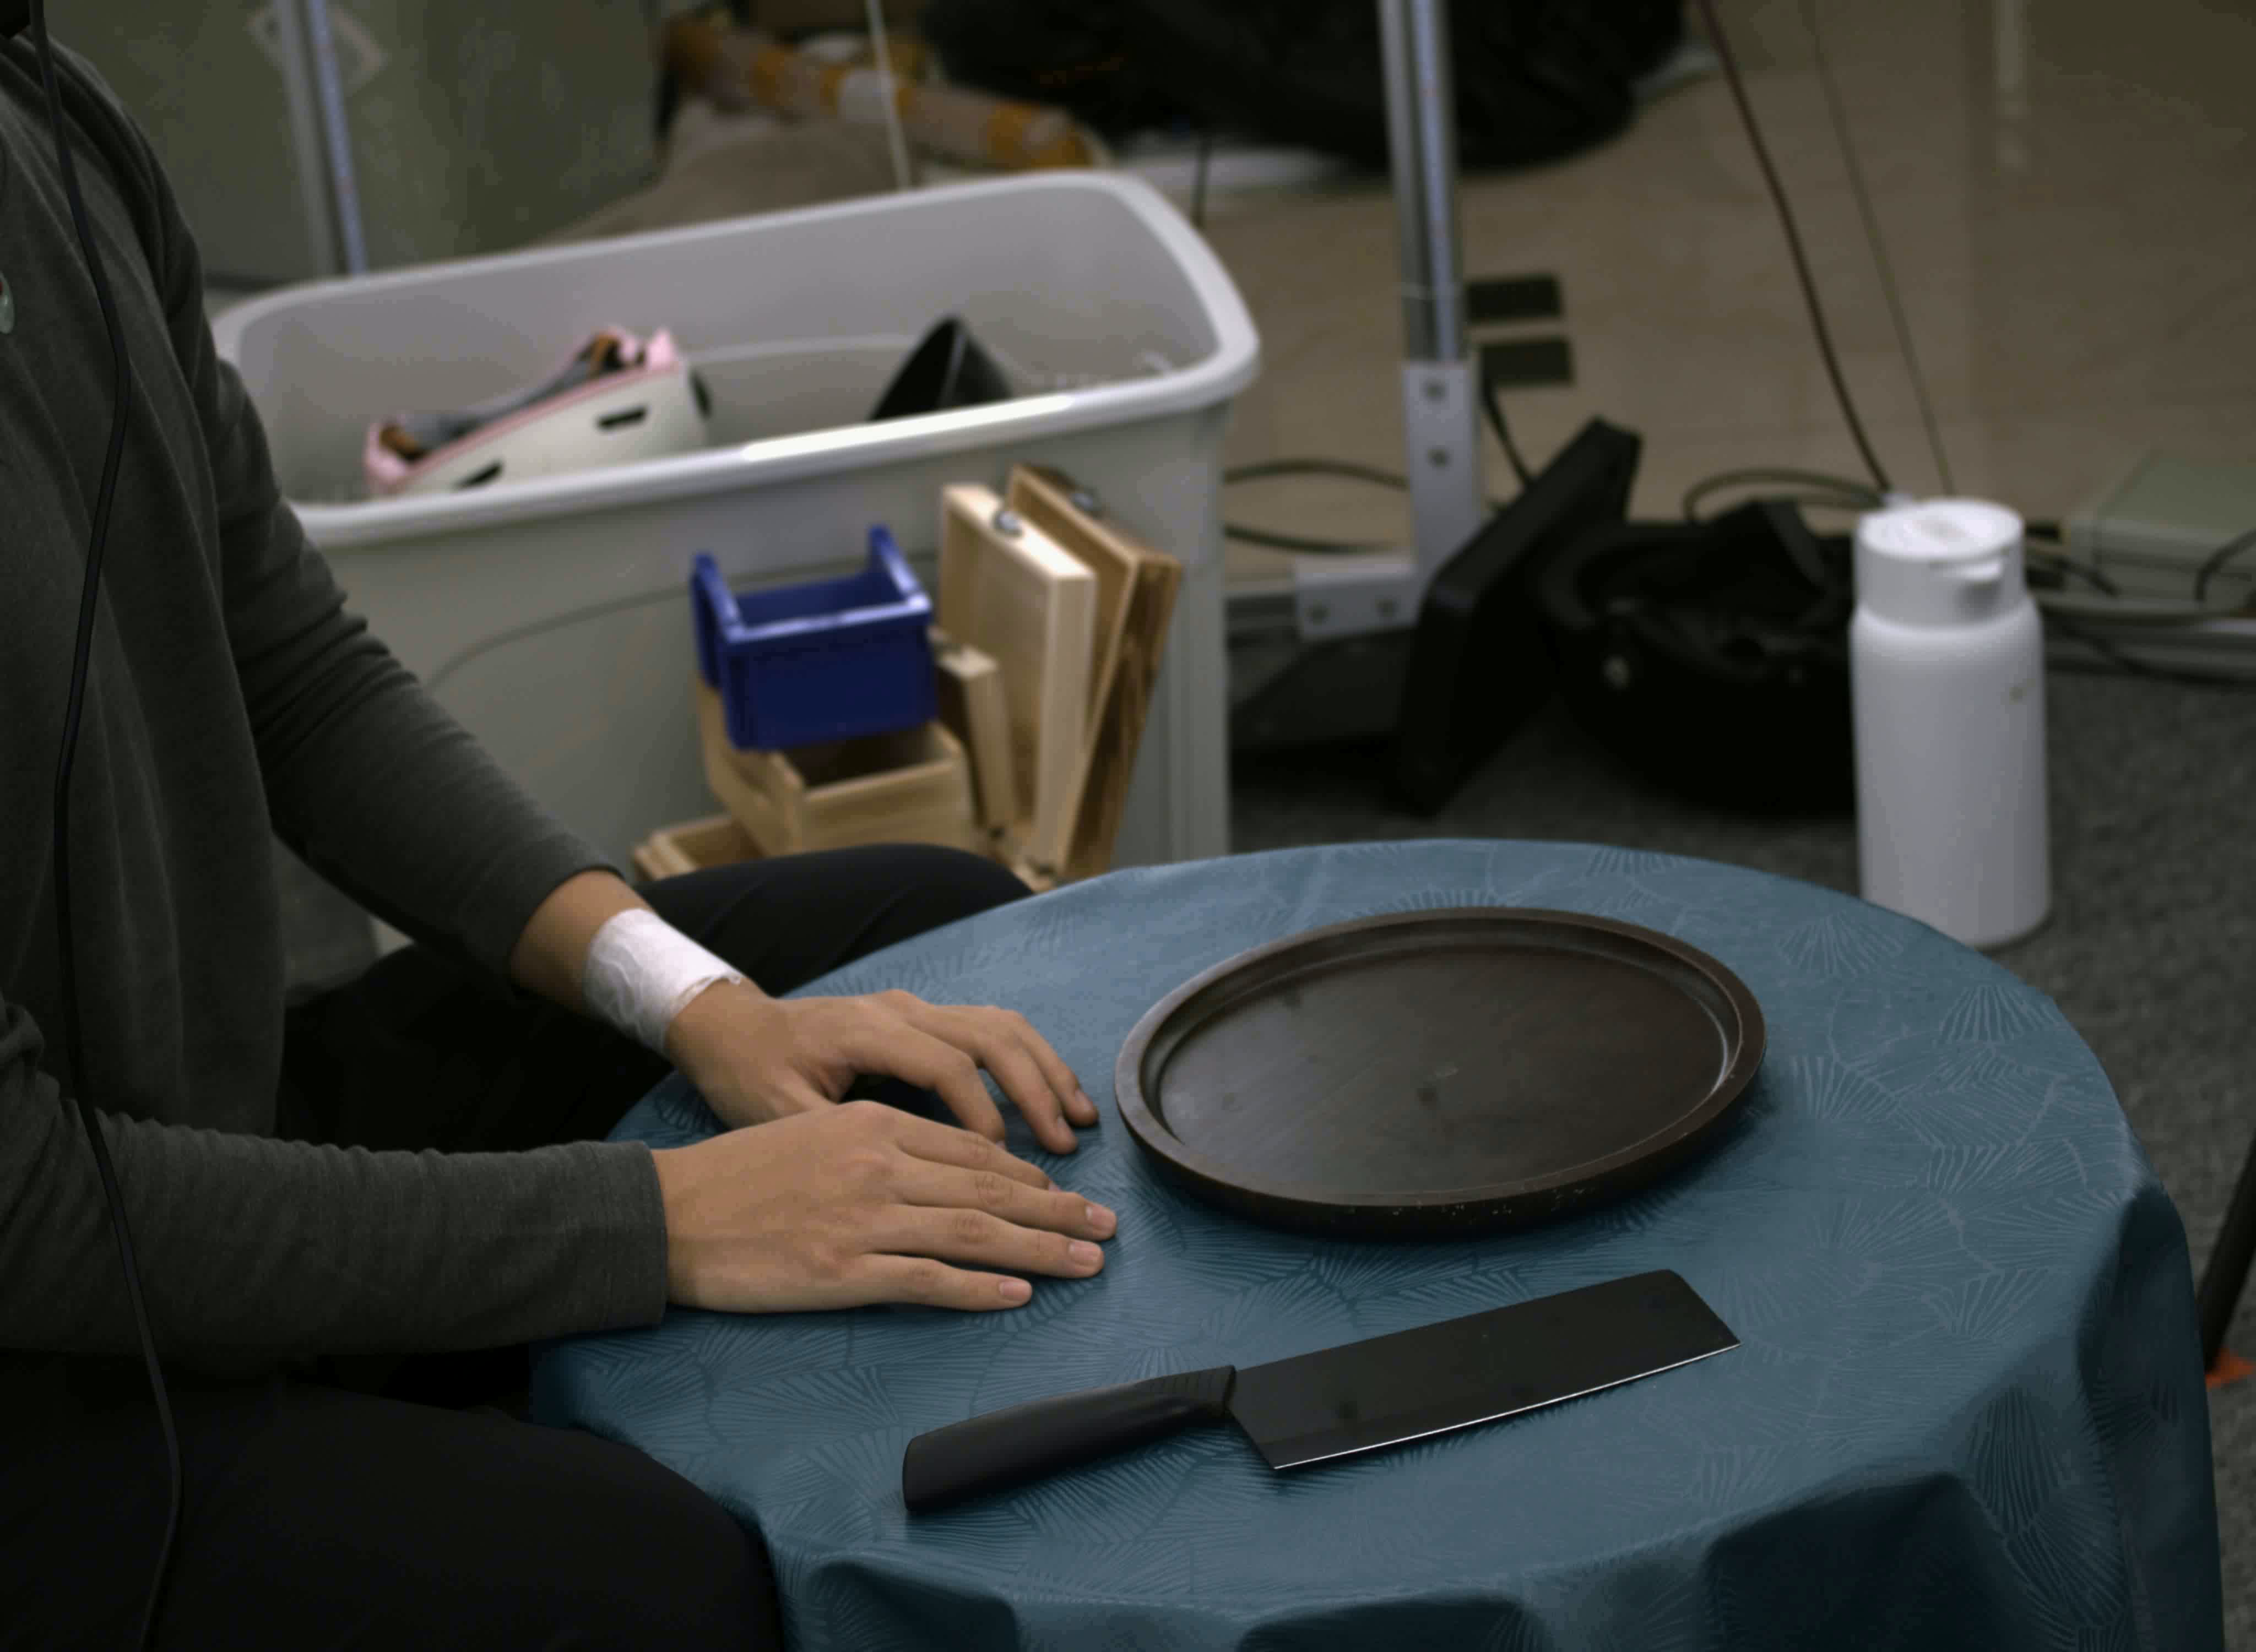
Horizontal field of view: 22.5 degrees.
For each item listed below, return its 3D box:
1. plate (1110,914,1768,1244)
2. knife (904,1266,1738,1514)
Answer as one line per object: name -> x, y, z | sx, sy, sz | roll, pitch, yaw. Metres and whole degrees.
plate -> 0.119, 0.095, 2.189 | 0.254, 0.029, 0.251 | -5, 26, 3
knife -> 0.066, 0.200, 1.988 | 0.301, 0.021, 0.080 | -10, 26, -12
